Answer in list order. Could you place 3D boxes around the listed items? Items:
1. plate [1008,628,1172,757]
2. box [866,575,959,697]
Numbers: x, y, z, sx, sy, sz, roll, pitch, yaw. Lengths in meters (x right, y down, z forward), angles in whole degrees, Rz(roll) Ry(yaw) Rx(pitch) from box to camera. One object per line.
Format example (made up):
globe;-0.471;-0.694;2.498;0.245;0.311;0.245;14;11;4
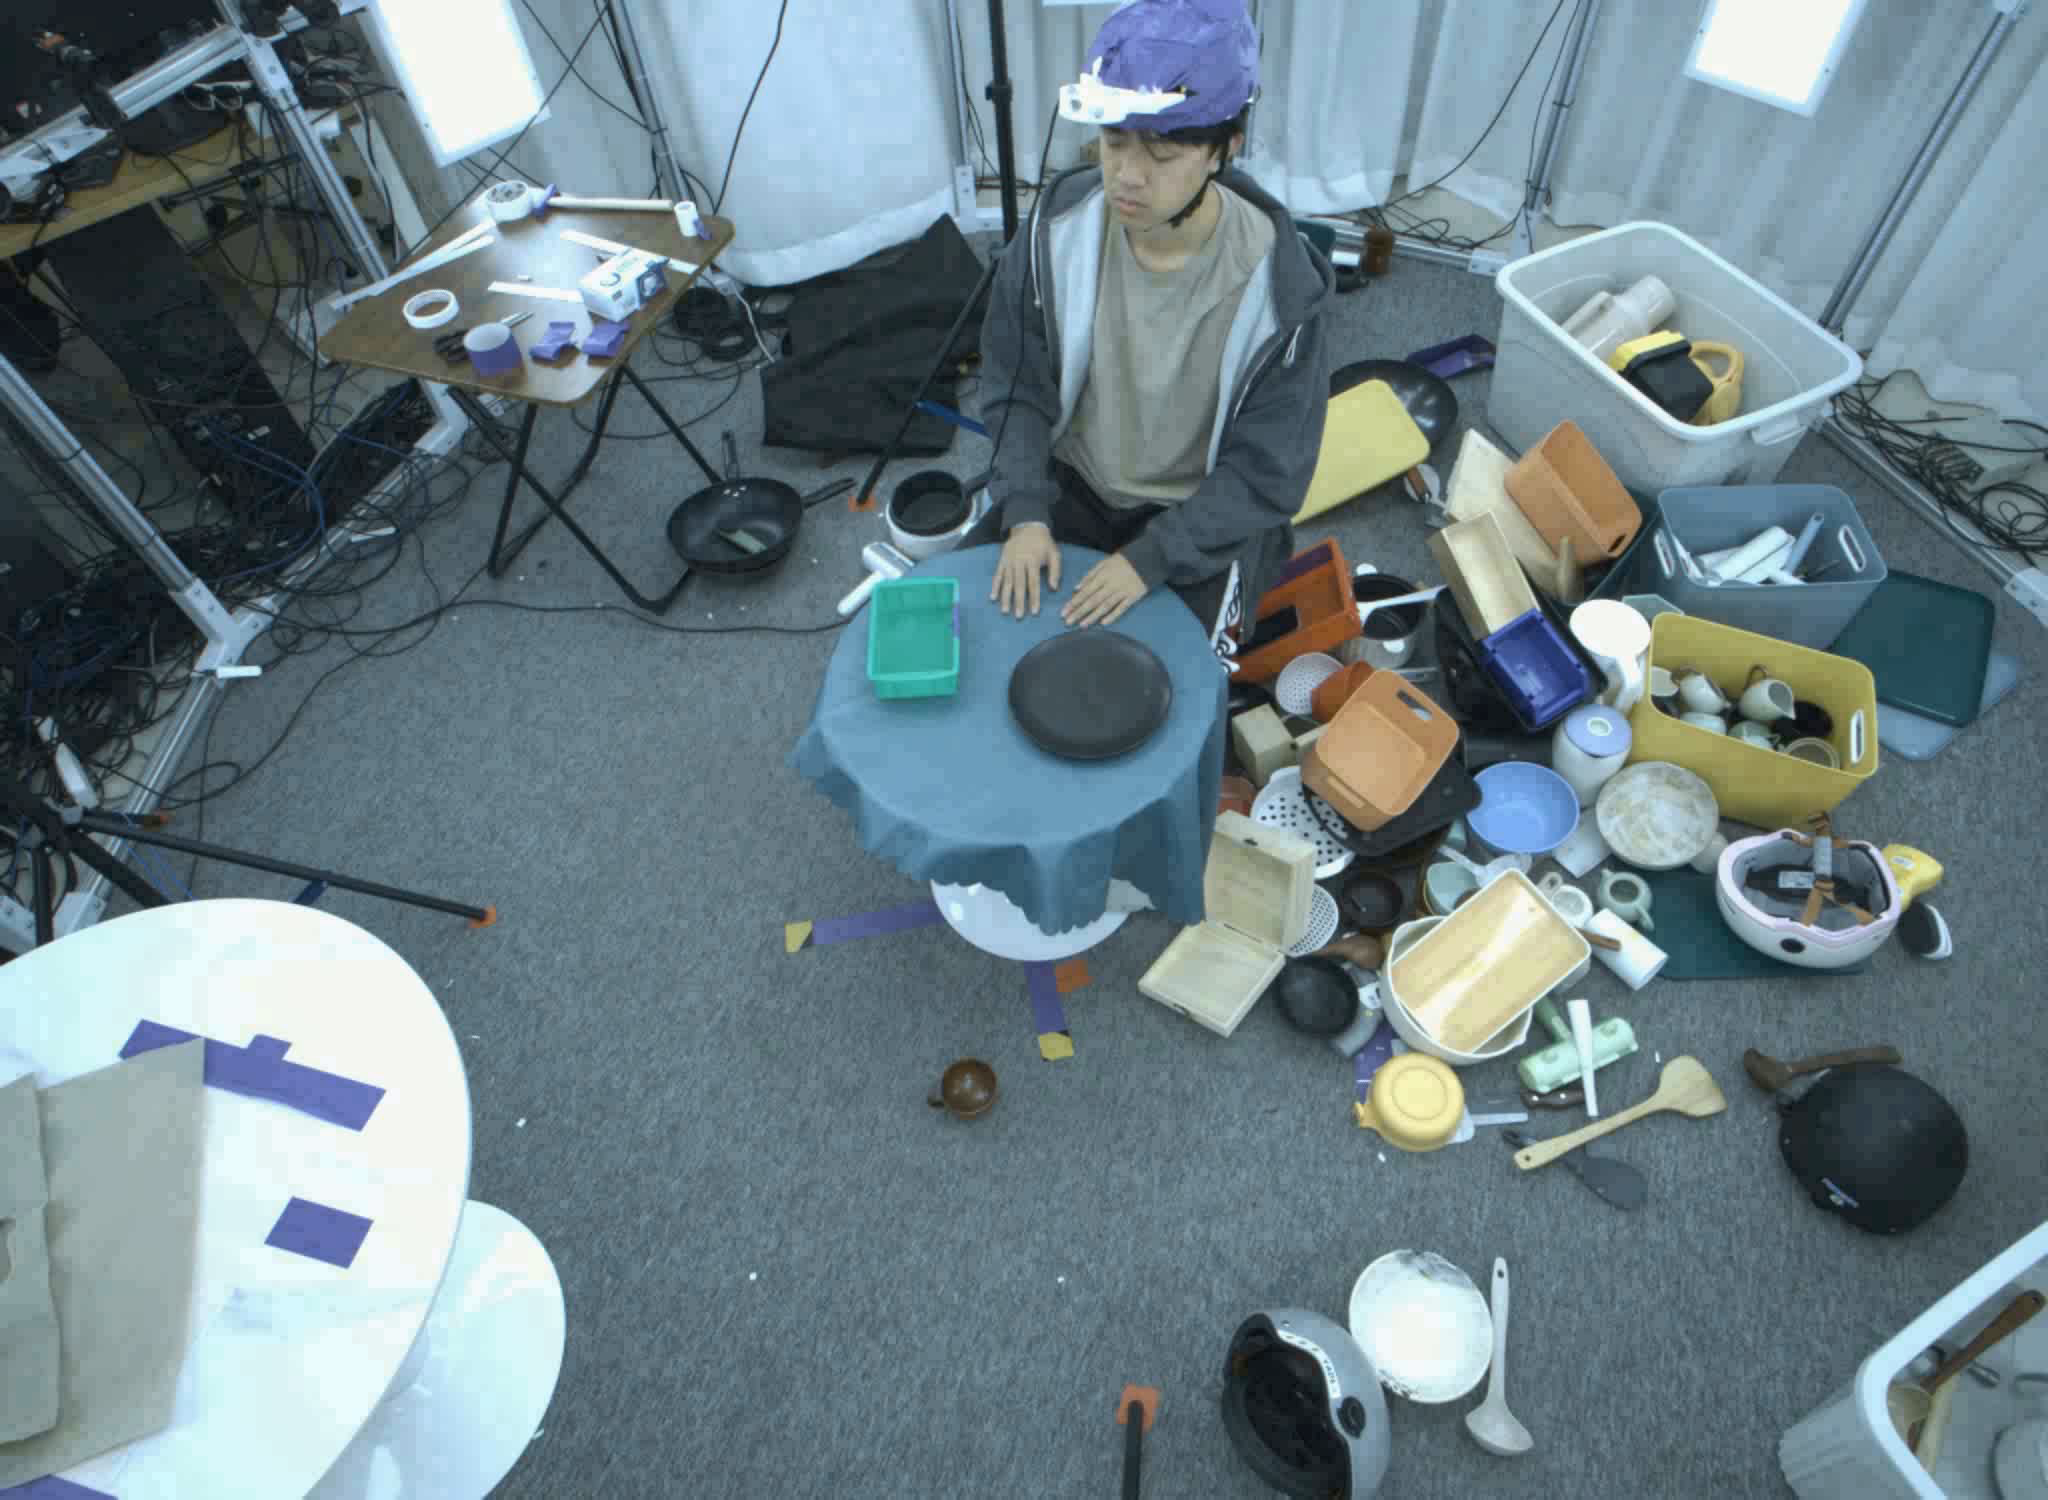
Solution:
plate;0.098;-0.084;1.832;0.244;0.024;0.242;-1;55;2
box;-0.167;-0.172;1.879;0.139;0.066;0.208;-3;52;-2
